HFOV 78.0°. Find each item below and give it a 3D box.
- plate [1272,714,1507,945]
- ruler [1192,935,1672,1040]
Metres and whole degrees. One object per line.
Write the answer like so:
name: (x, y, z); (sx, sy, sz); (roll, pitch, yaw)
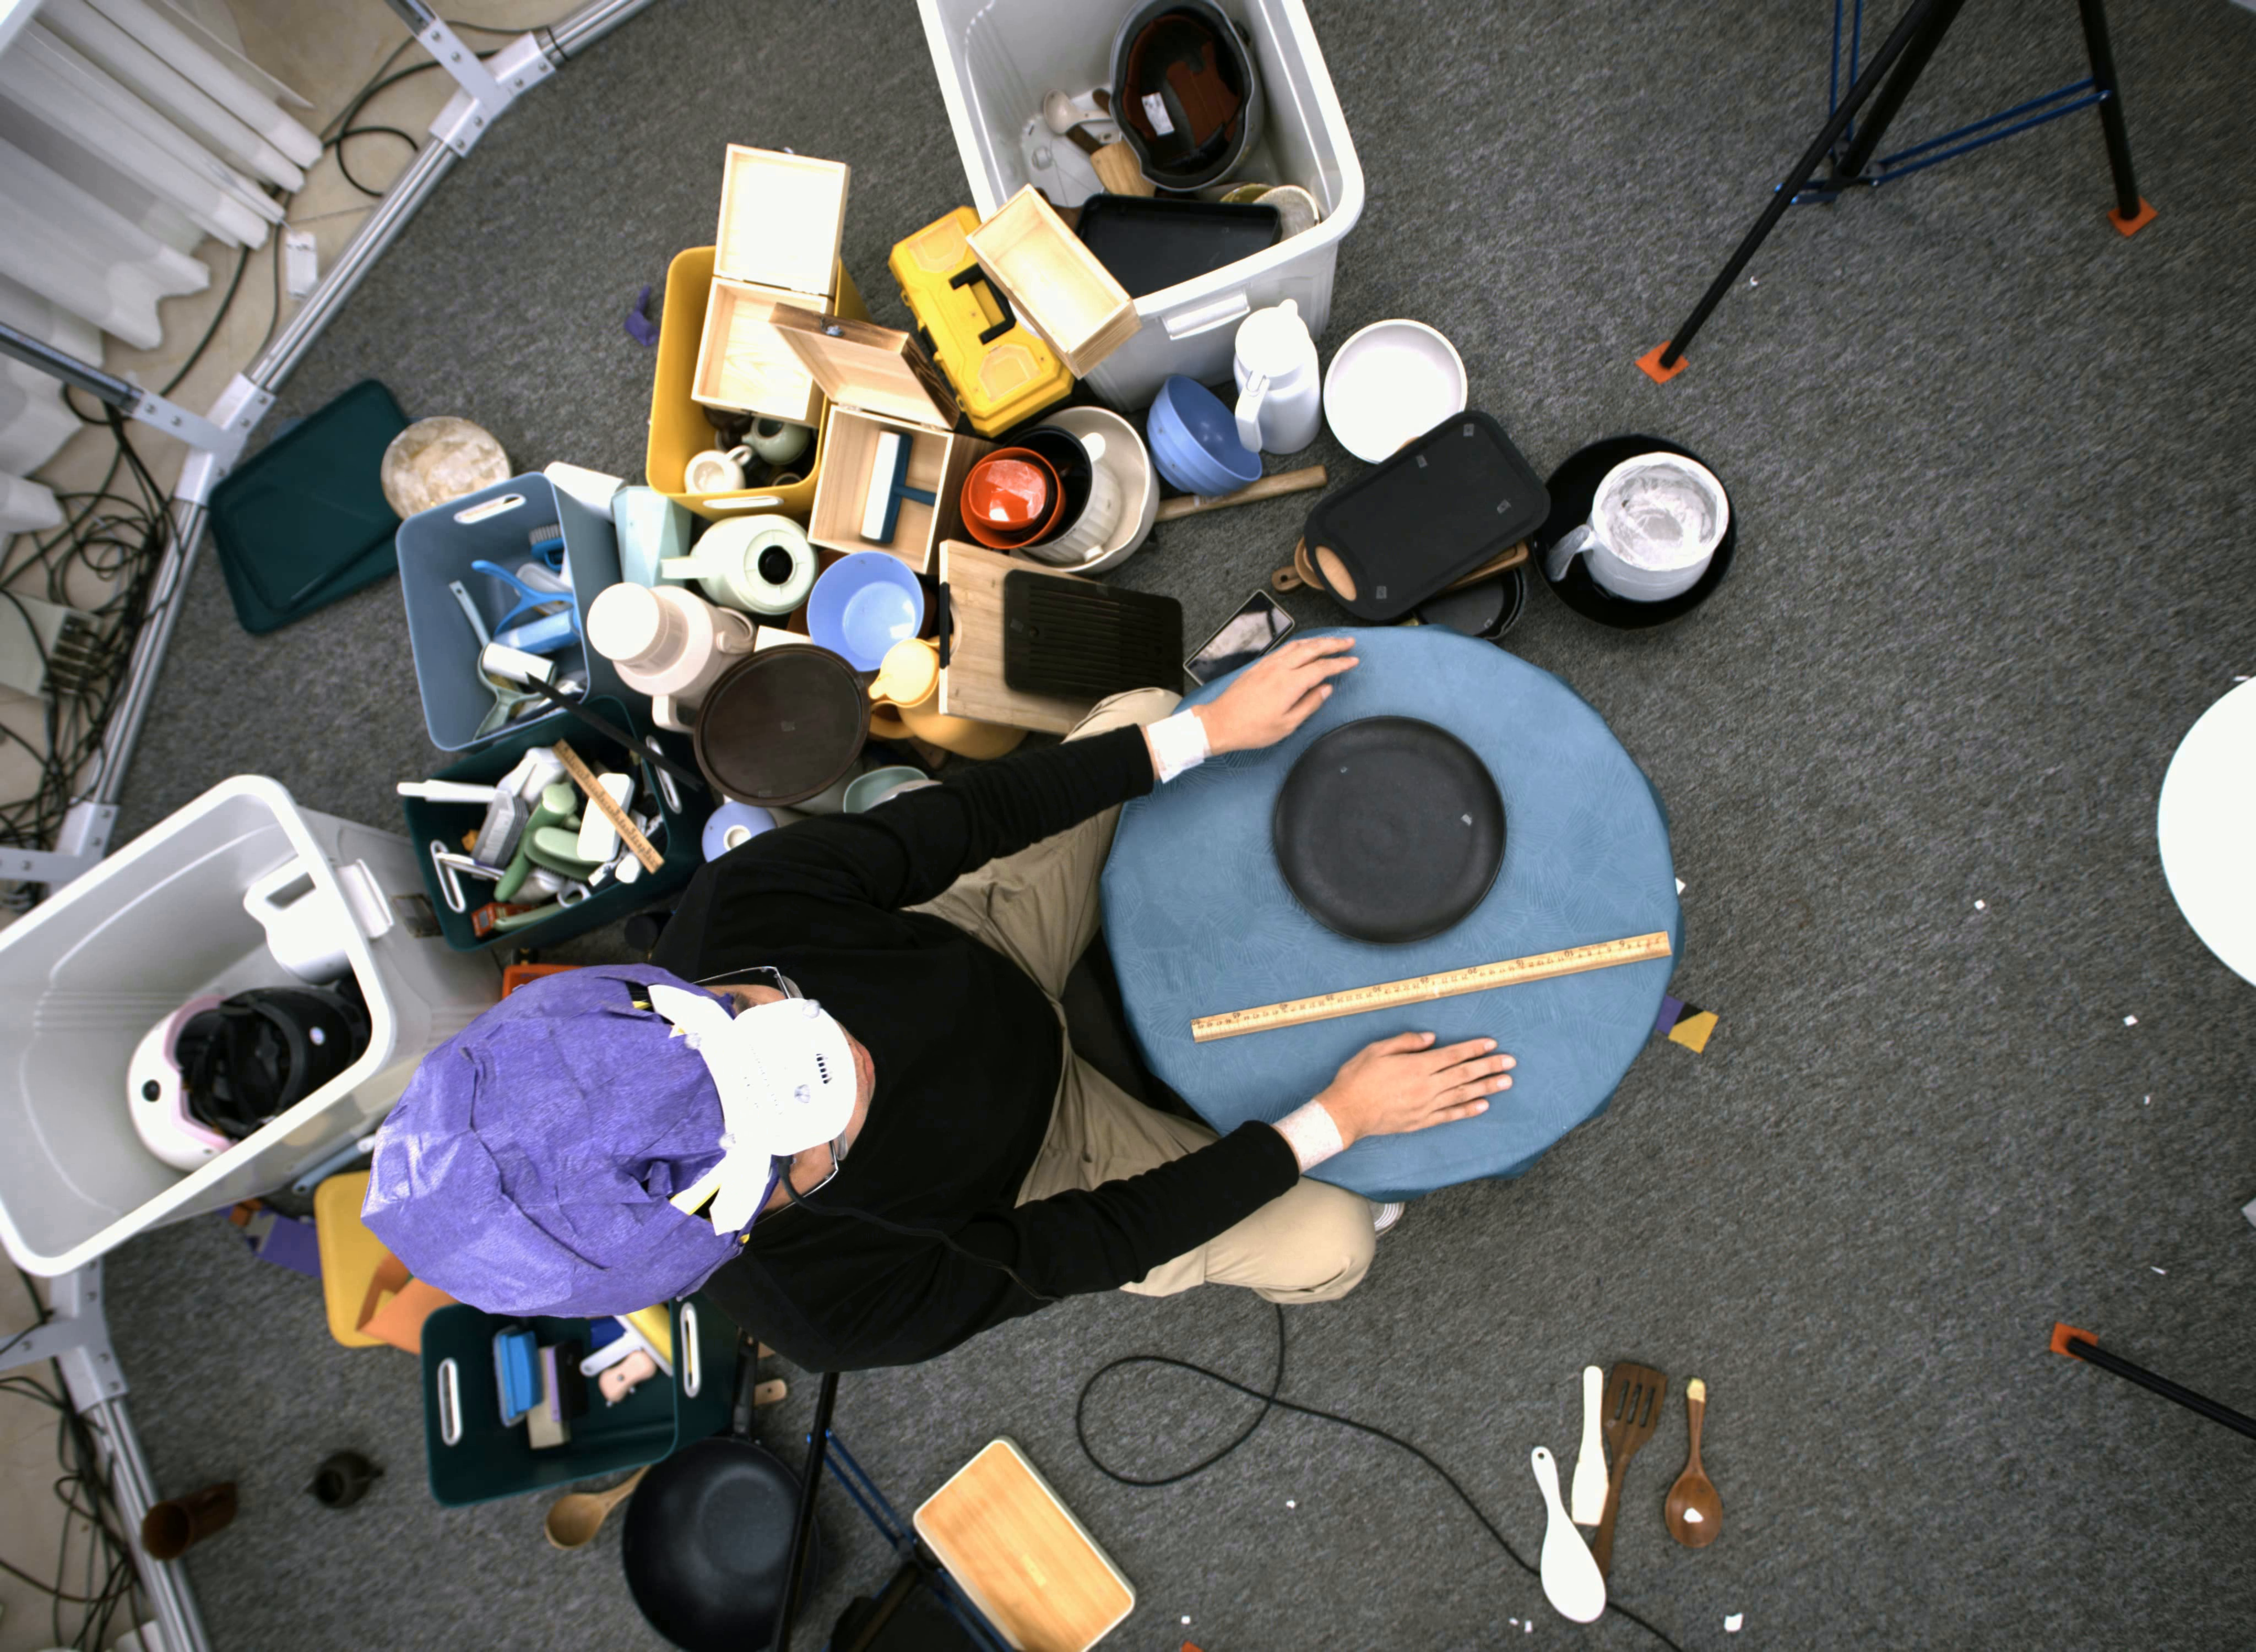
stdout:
plate: (0.274, 0.002, 1.451); (0.245, 0.023, 0.243); (-1, 87, 11)
ruler: (0.312, 0.167, 1.444); (0.503, 0.006, 0.026); (-11, 83, 10)
